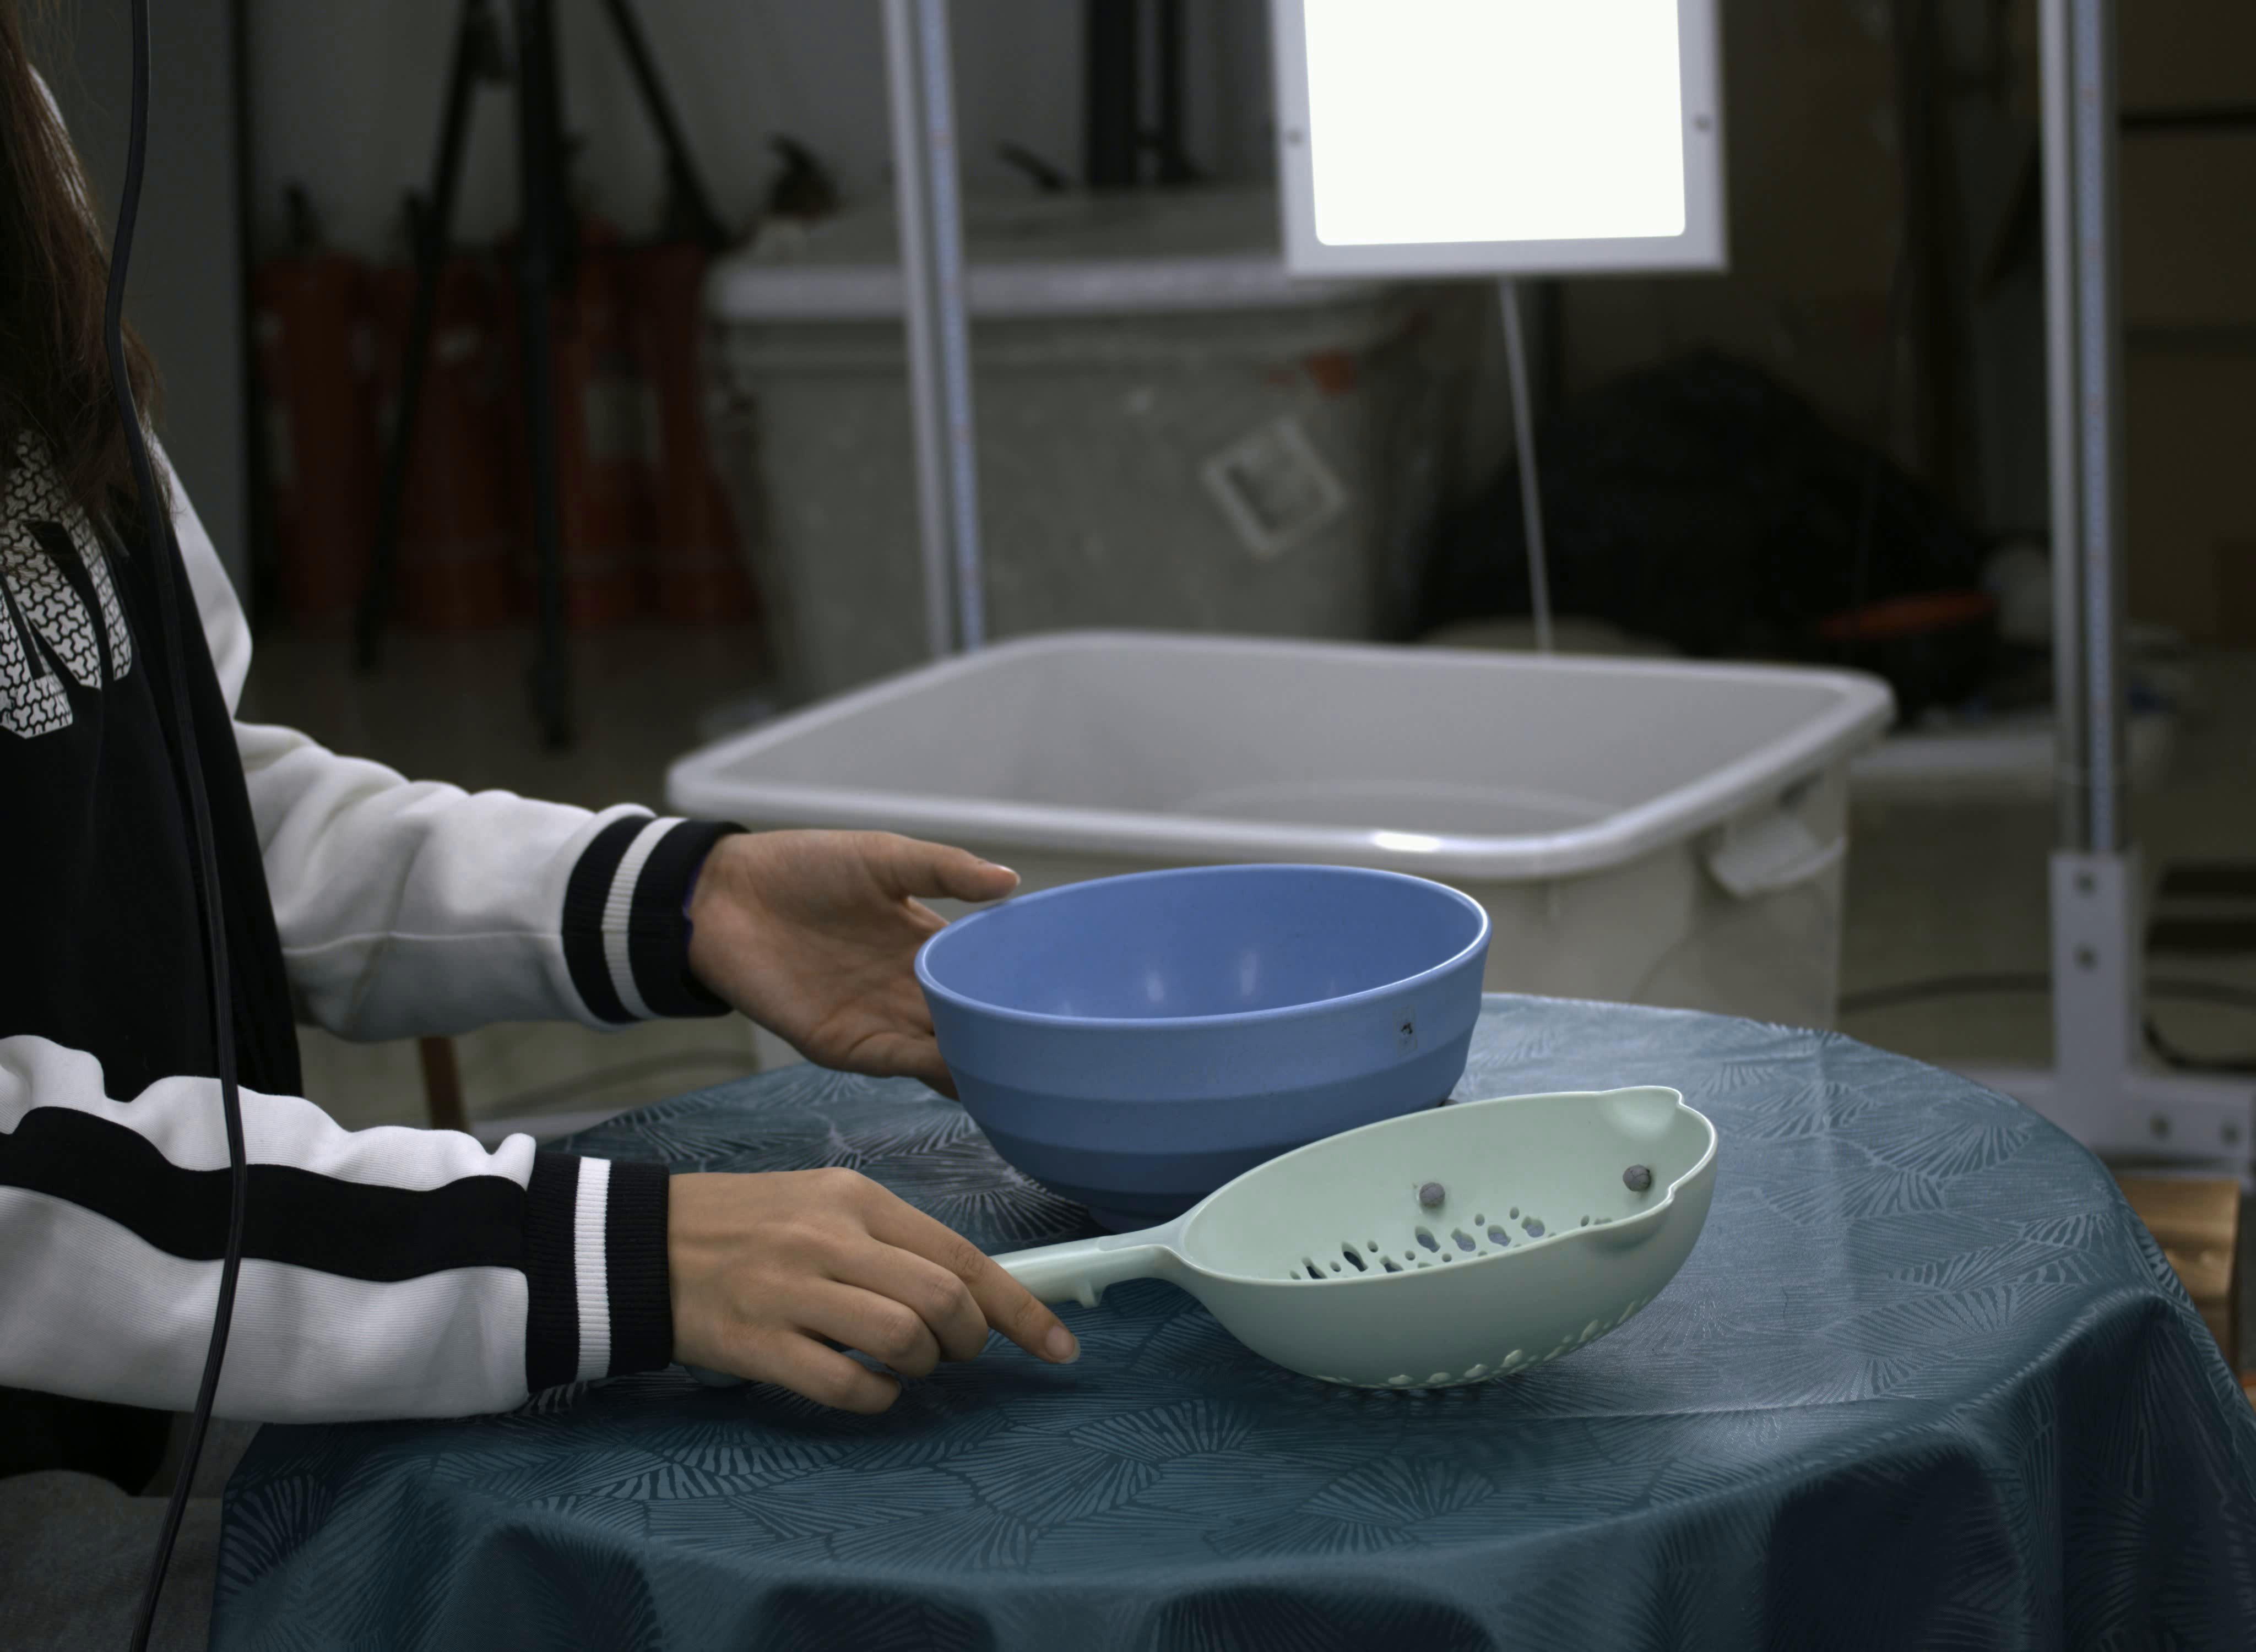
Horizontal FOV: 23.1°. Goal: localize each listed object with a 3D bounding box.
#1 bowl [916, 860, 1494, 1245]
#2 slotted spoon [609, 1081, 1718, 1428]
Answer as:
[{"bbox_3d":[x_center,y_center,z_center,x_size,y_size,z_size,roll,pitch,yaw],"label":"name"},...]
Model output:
[{"bbox_3d":[0.029,0.083,1.867,0.196,0.096,0.196,-5,14,0],"label":"bowl"},{"bbox_3d":[0.007,0.142,1.712,0.361,0.075,0.167,-4,12,11],"label":"slotted spoon"}]
